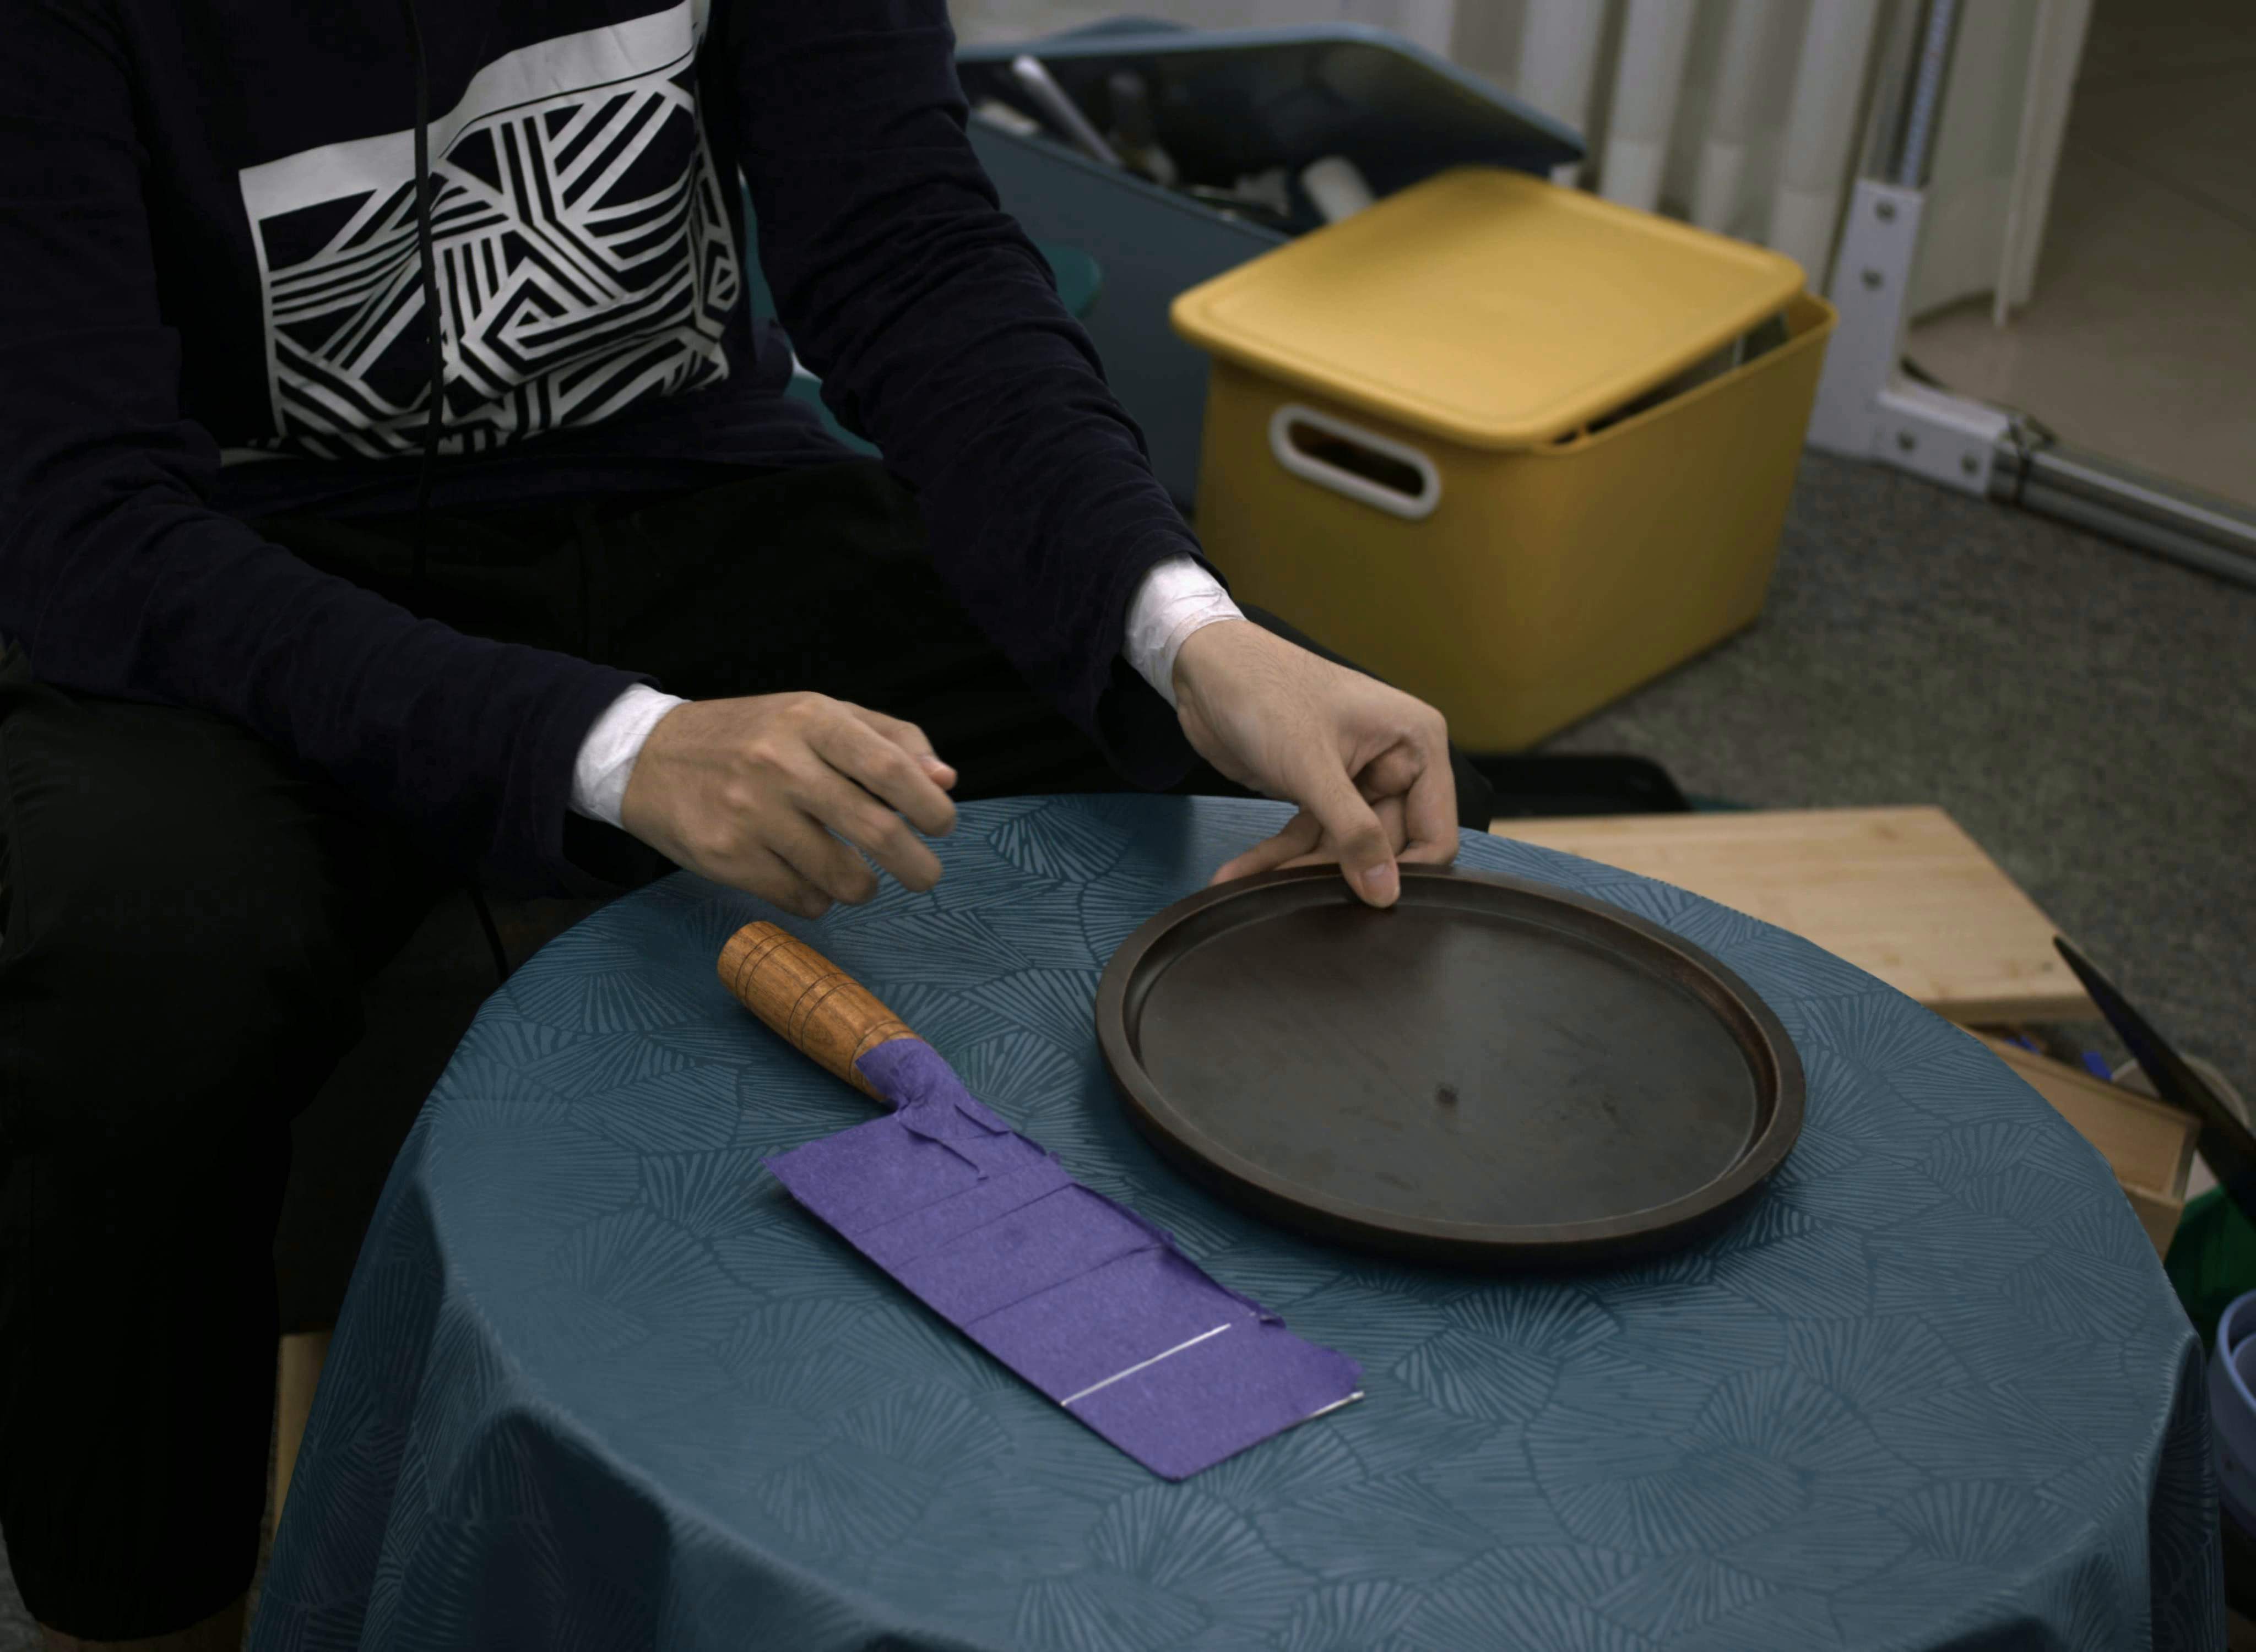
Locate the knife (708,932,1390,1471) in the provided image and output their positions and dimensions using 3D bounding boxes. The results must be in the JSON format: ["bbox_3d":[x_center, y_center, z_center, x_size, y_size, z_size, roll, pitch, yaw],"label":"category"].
[{"bbox_3d":[-0.055,0.121,1.769,0.103,0.032,0.318,-17,36,-40],"label":"knife"}]

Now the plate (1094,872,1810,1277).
[{"bbox_3d":[0.113,0.085,1.873,0.254,0.029,0.256,5,29,-3],"label":"plate"}]
